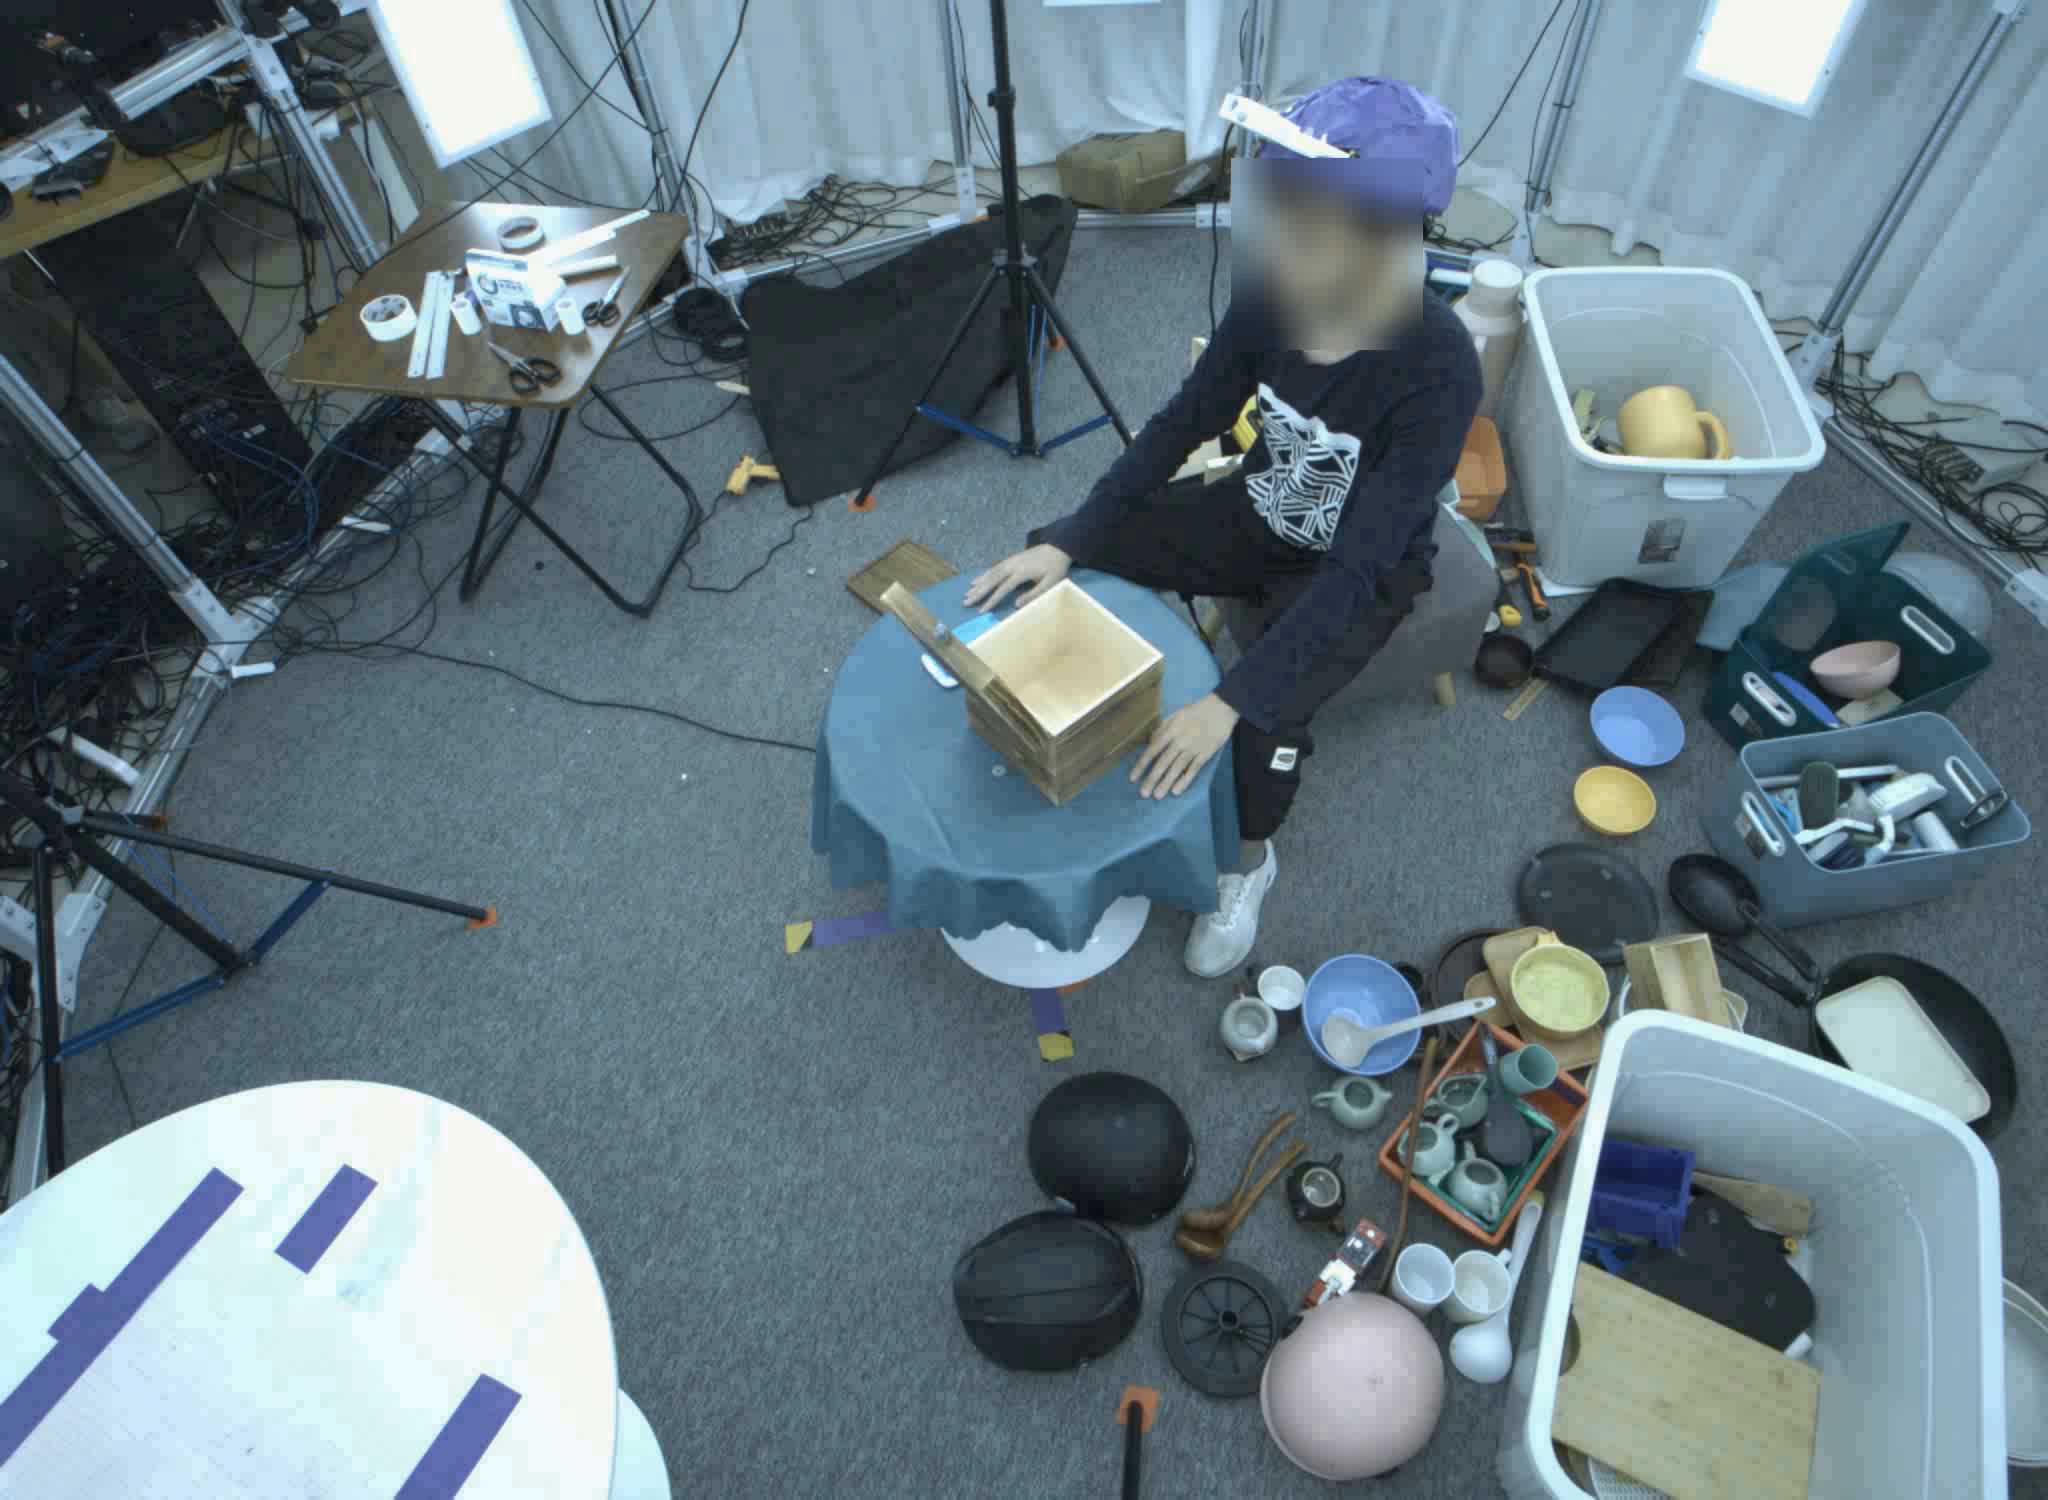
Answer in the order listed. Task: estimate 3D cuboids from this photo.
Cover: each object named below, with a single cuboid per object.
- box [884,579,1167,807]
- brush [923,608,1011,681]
[{"bbox_3d":[0.011,-0.109,1.634,0.324,0.379,0.205,-37,60,-21],"label":"box"},{"bbox_3d":[-0.080,-0.168,1.865,0.145,0.056,0.082,-30,62,-15],"label":"brush"}]
